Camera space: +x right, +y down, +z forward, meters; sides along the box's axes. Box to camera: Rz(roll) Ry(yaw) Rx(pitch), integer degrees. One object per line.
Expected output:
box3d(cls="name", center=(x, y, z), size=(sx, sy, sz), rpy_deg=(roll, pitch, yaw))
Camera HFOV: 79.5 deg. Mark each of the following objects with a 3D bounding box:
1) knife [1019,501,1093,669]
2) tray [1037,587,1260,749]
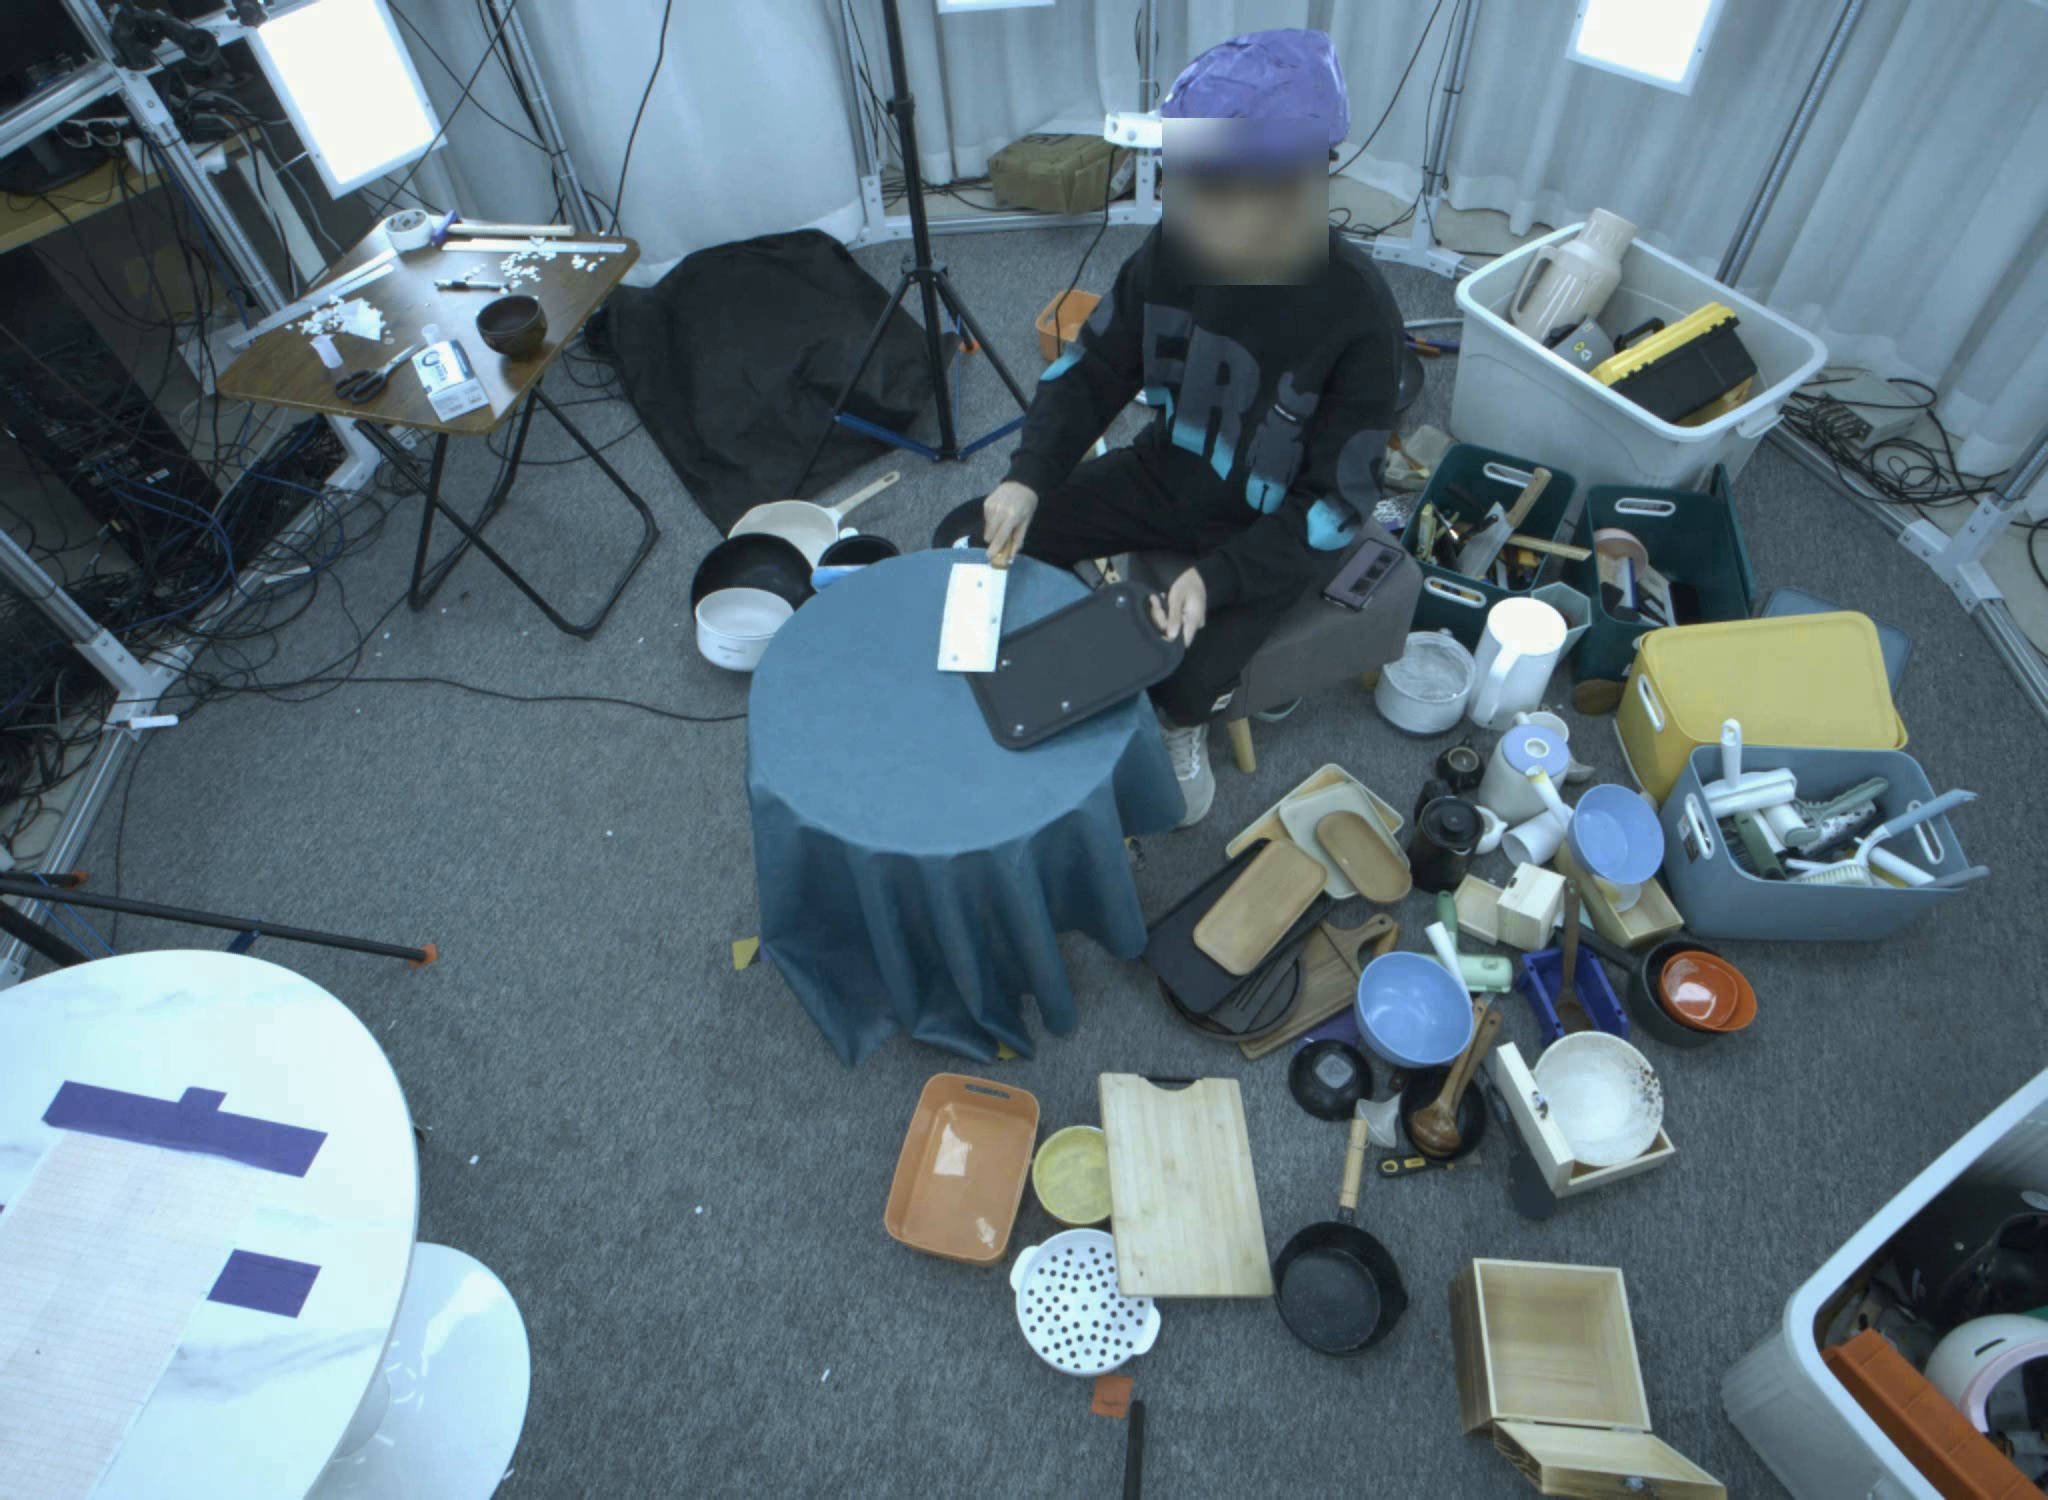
box3d(cls="knife", center=(0.047, -0.262, 1.916), size=(0.092, 0.021, 0.304), rpy_deg=(7, 69, 10))
box3d(cls="tray", center=(0.185, -0.130, 1.825), size=(0.325, 0.010, 0.207), rpy_deg=(-22, 55, 3))
